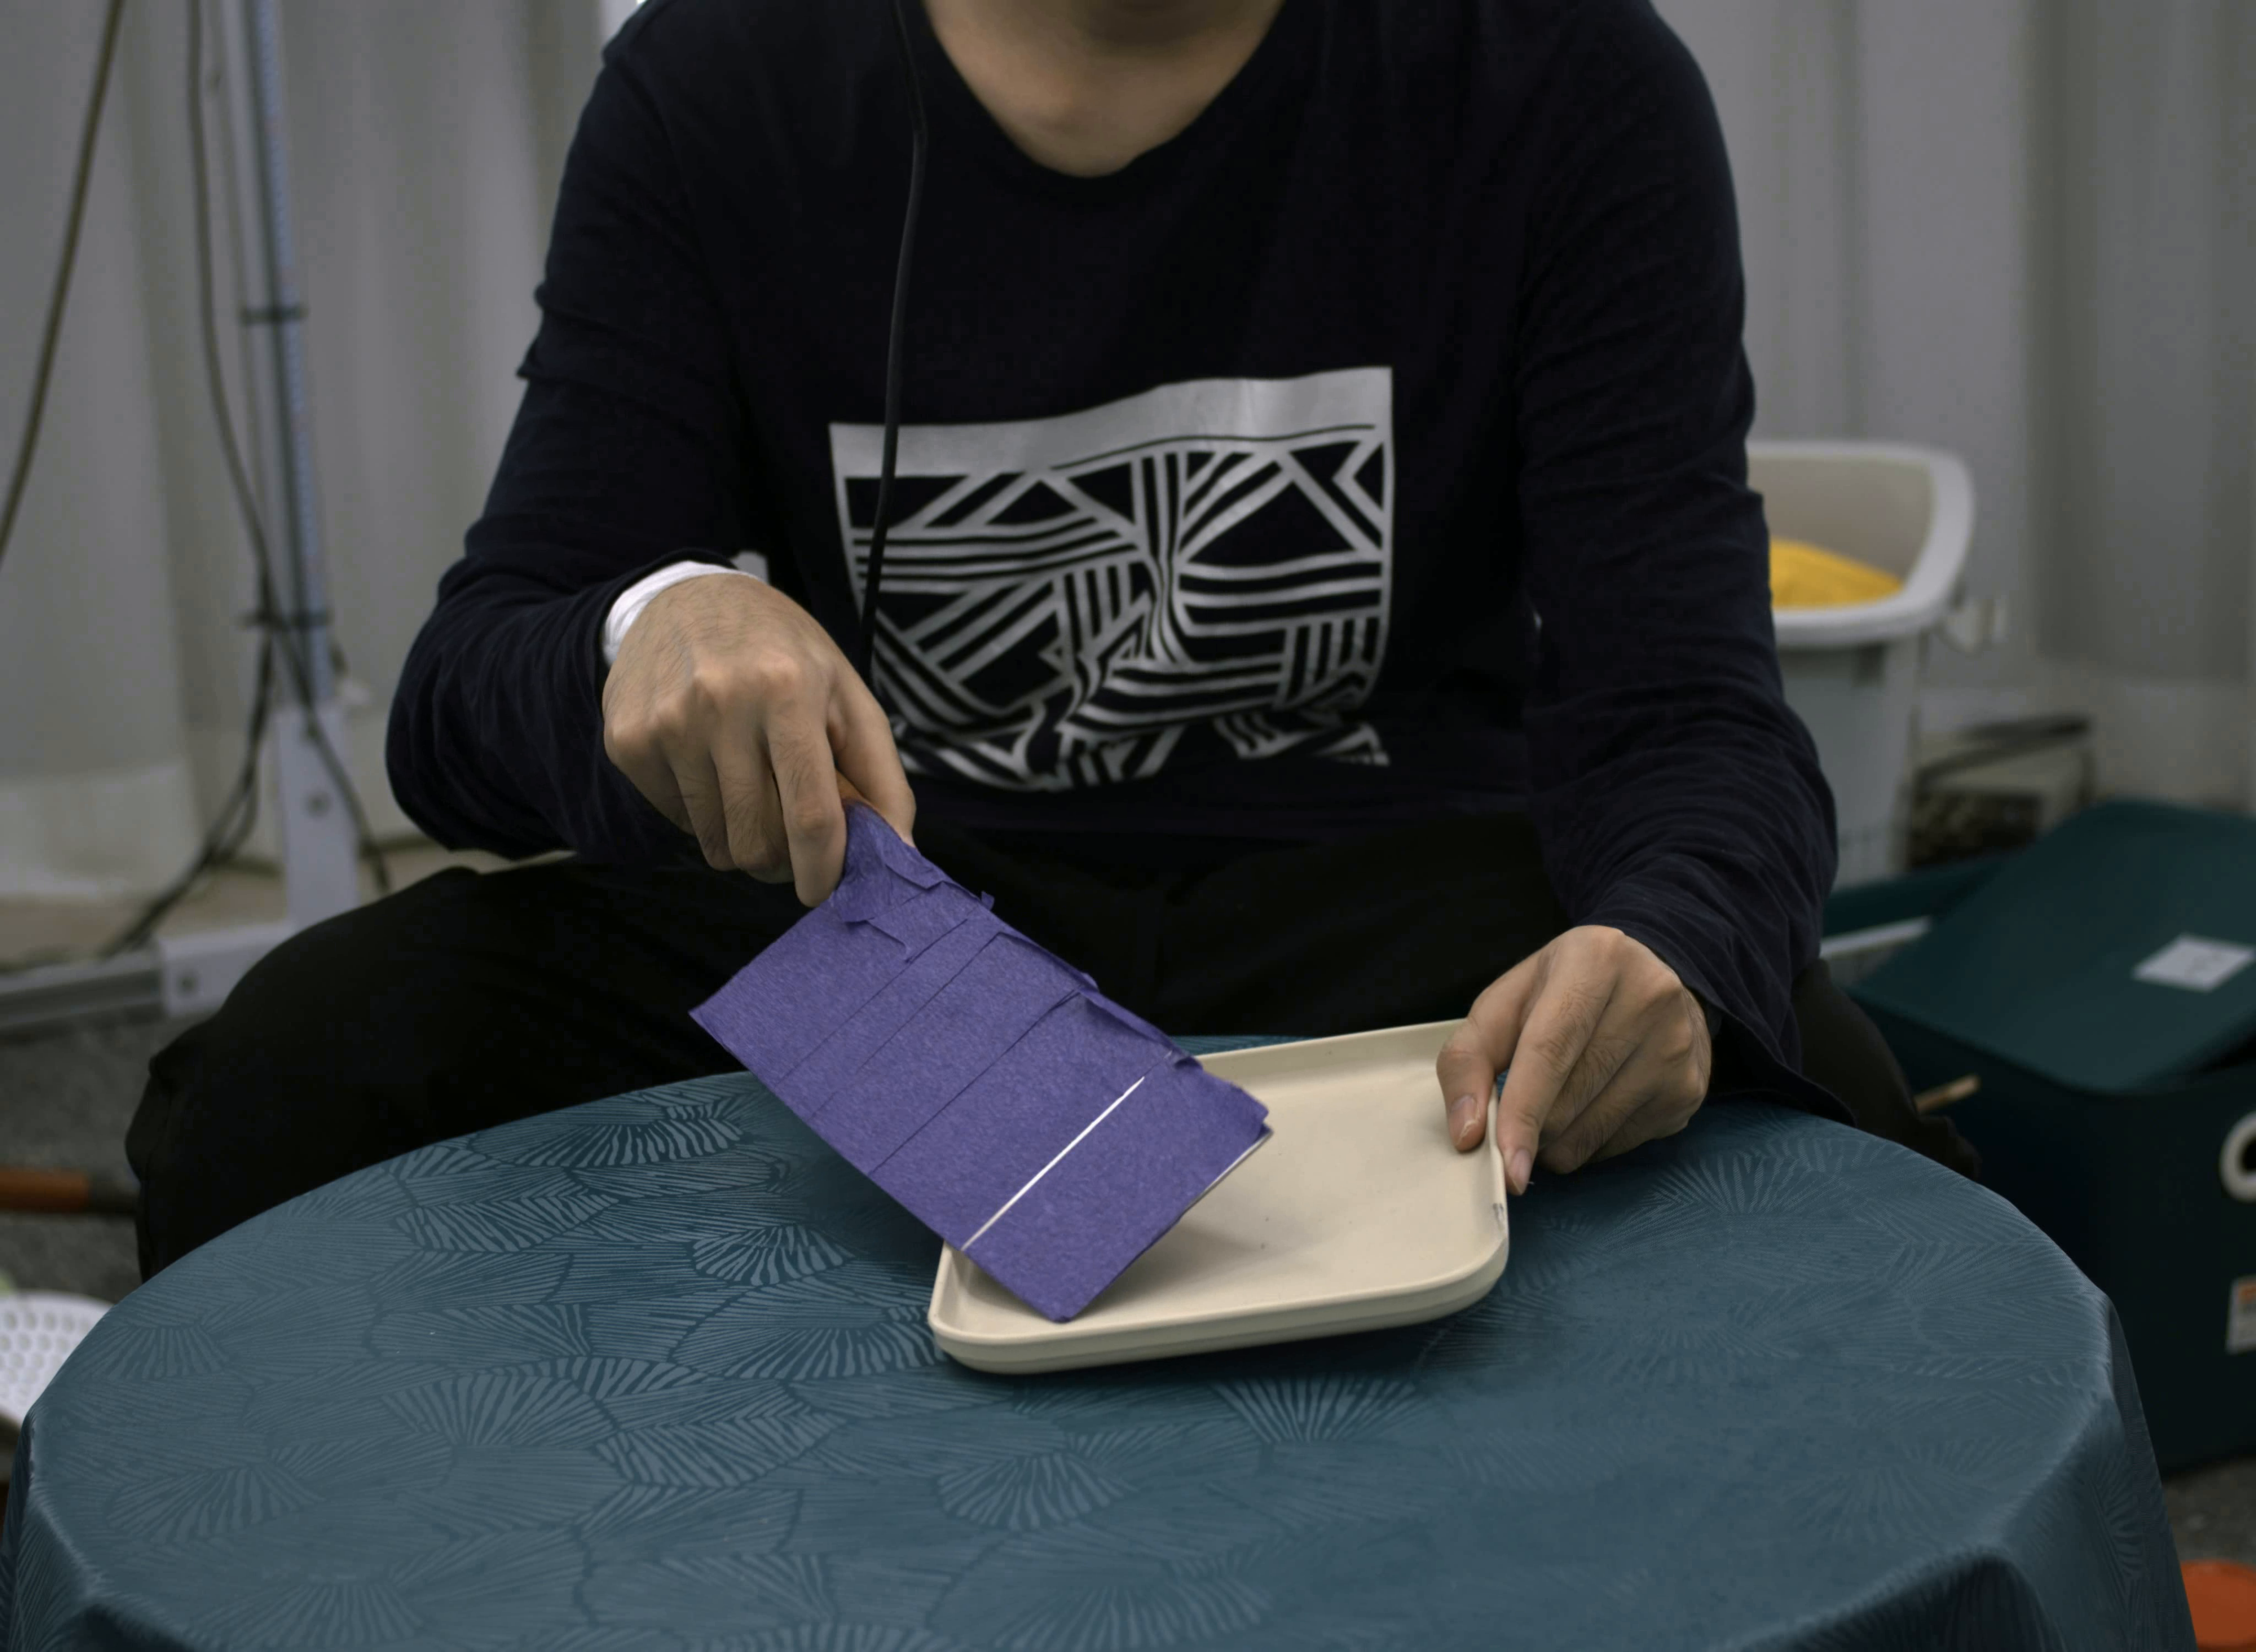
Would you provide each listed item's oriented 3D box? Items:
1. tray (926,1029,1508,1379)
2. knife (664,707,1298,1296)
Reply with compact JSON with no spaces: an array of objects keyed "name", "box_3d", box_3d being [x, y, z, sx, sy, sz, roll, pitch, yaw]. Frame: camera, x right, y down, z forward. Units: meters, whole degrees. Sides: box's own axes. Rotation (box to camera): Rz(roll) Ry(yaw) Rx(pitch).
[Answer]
[{"name":"tray","box_3d":[0.029,0.113,1.655,0.171,0.017,0.241,-9,15,5]},{"name":"knife","box_3d":[-0.076,0.050,1.705,0.104,0.032,0.318,-41,40,-14]}]
